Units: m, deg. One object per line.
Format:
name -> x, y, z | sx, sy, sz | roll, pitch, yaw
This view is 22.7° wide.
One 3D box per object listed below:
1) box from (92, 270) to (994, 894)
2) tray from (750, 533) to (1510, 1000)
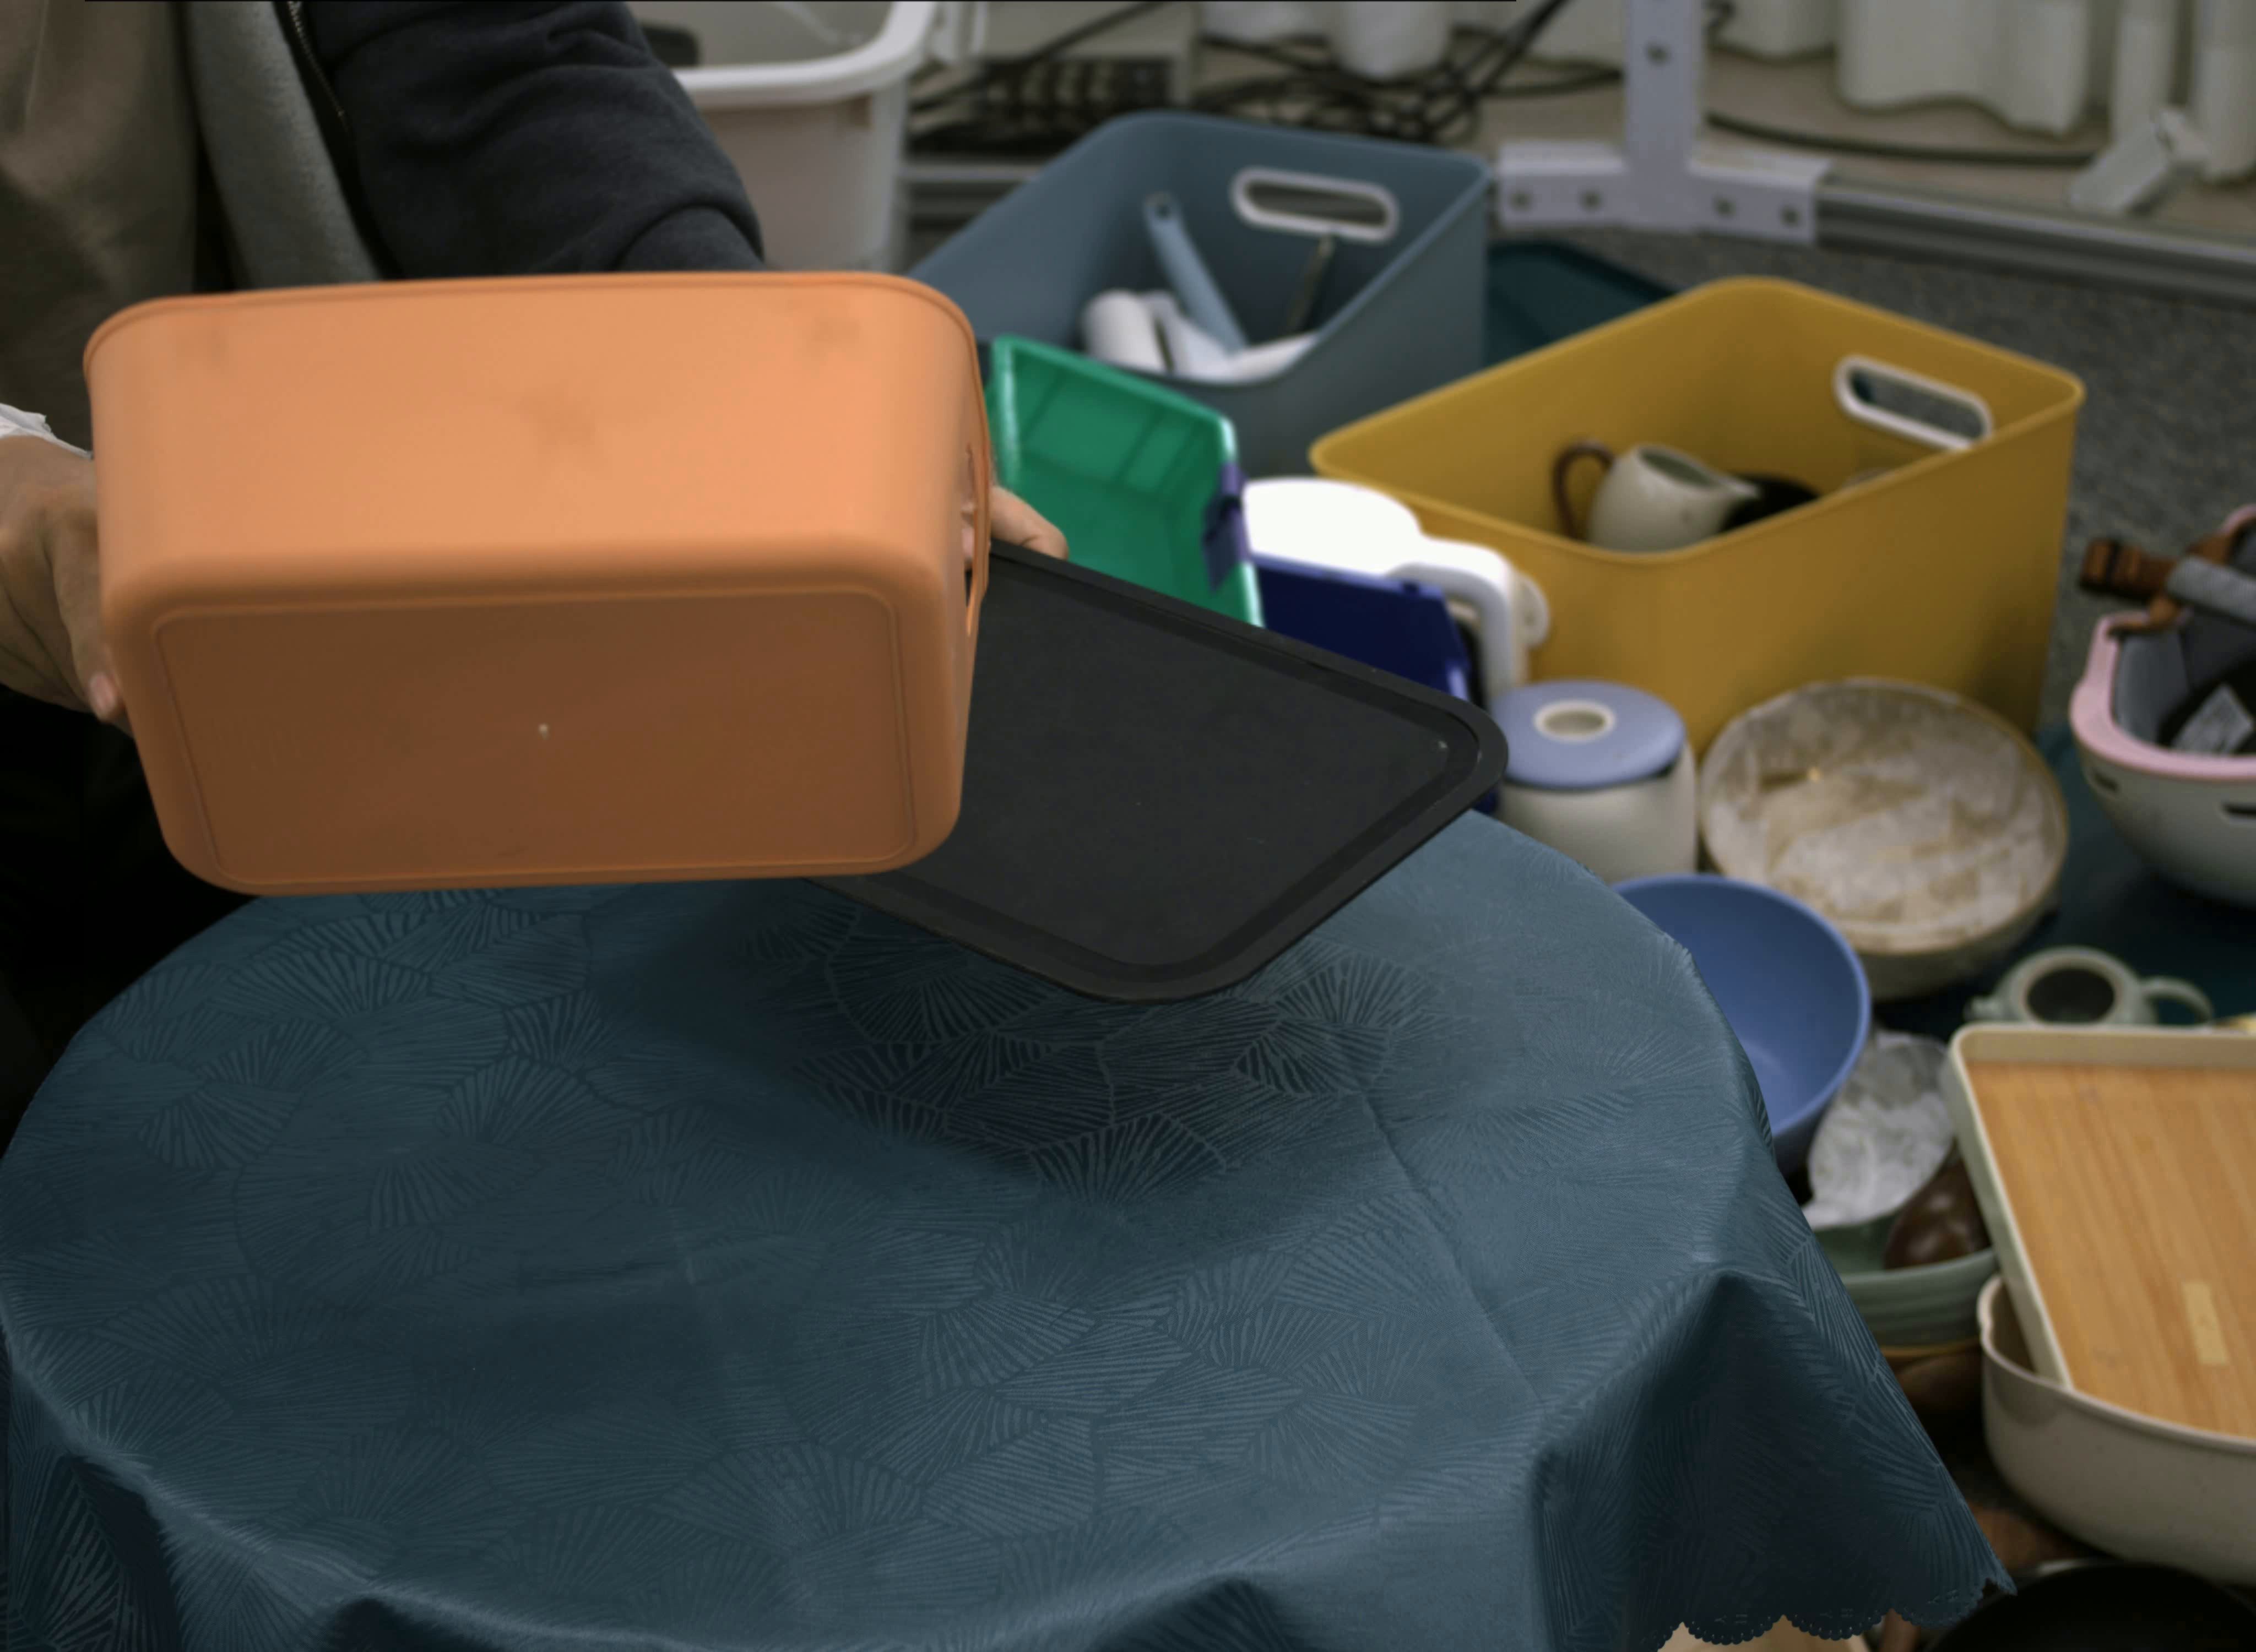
box -> -0.176, -0.067, 1.714 | 0.272, 0.196, 0.104 | -2, 56, -1
tray -> -0.041, -0.029, 1.959 | 0.324, 0.009, 0.214 | 21, 40, 35
